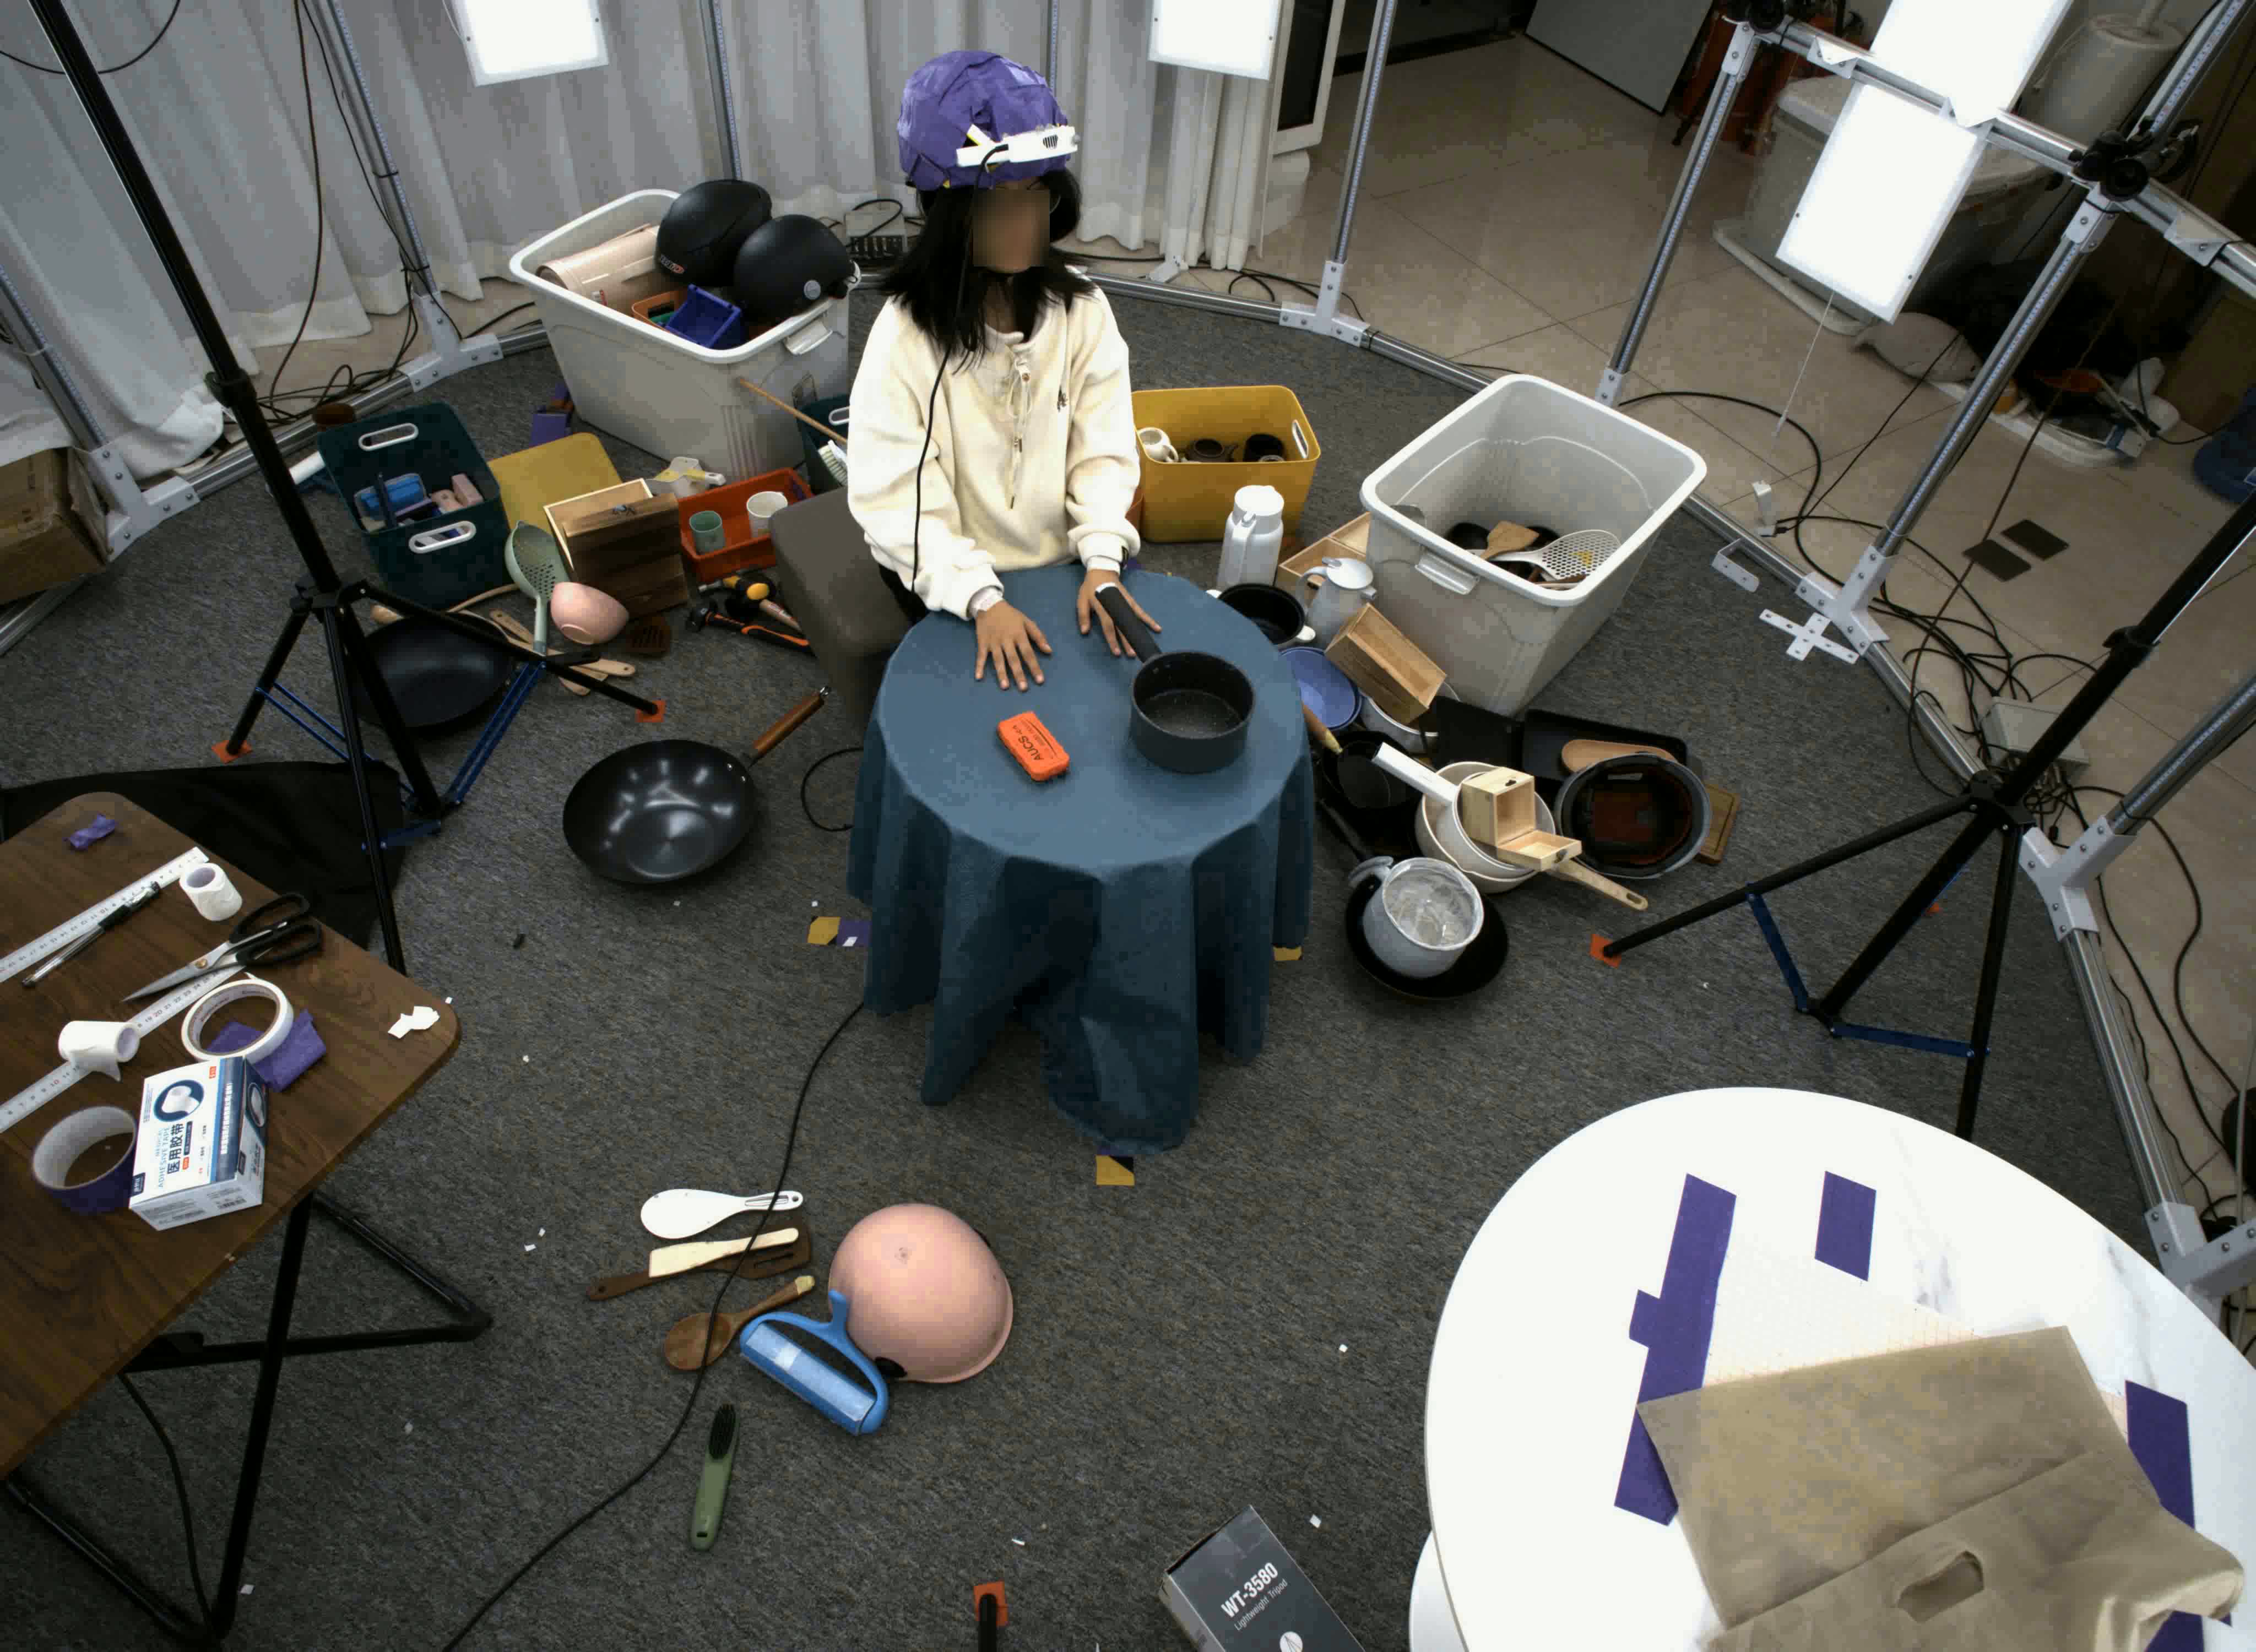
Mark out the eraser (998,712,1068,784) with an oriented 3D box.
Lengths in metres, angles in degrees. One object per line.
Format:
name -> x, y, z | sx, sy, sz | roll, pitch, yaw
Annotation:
eraser -> -0.129, -0.107, 1.739 | 0.059, 0.022, 0.110 | -23, 55, -22

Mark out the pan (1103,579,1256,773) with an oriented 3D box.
pan -> 0.048, -0.214, 1.805 | 0.172, 0.084, 0.336 | -19, 54, -20
